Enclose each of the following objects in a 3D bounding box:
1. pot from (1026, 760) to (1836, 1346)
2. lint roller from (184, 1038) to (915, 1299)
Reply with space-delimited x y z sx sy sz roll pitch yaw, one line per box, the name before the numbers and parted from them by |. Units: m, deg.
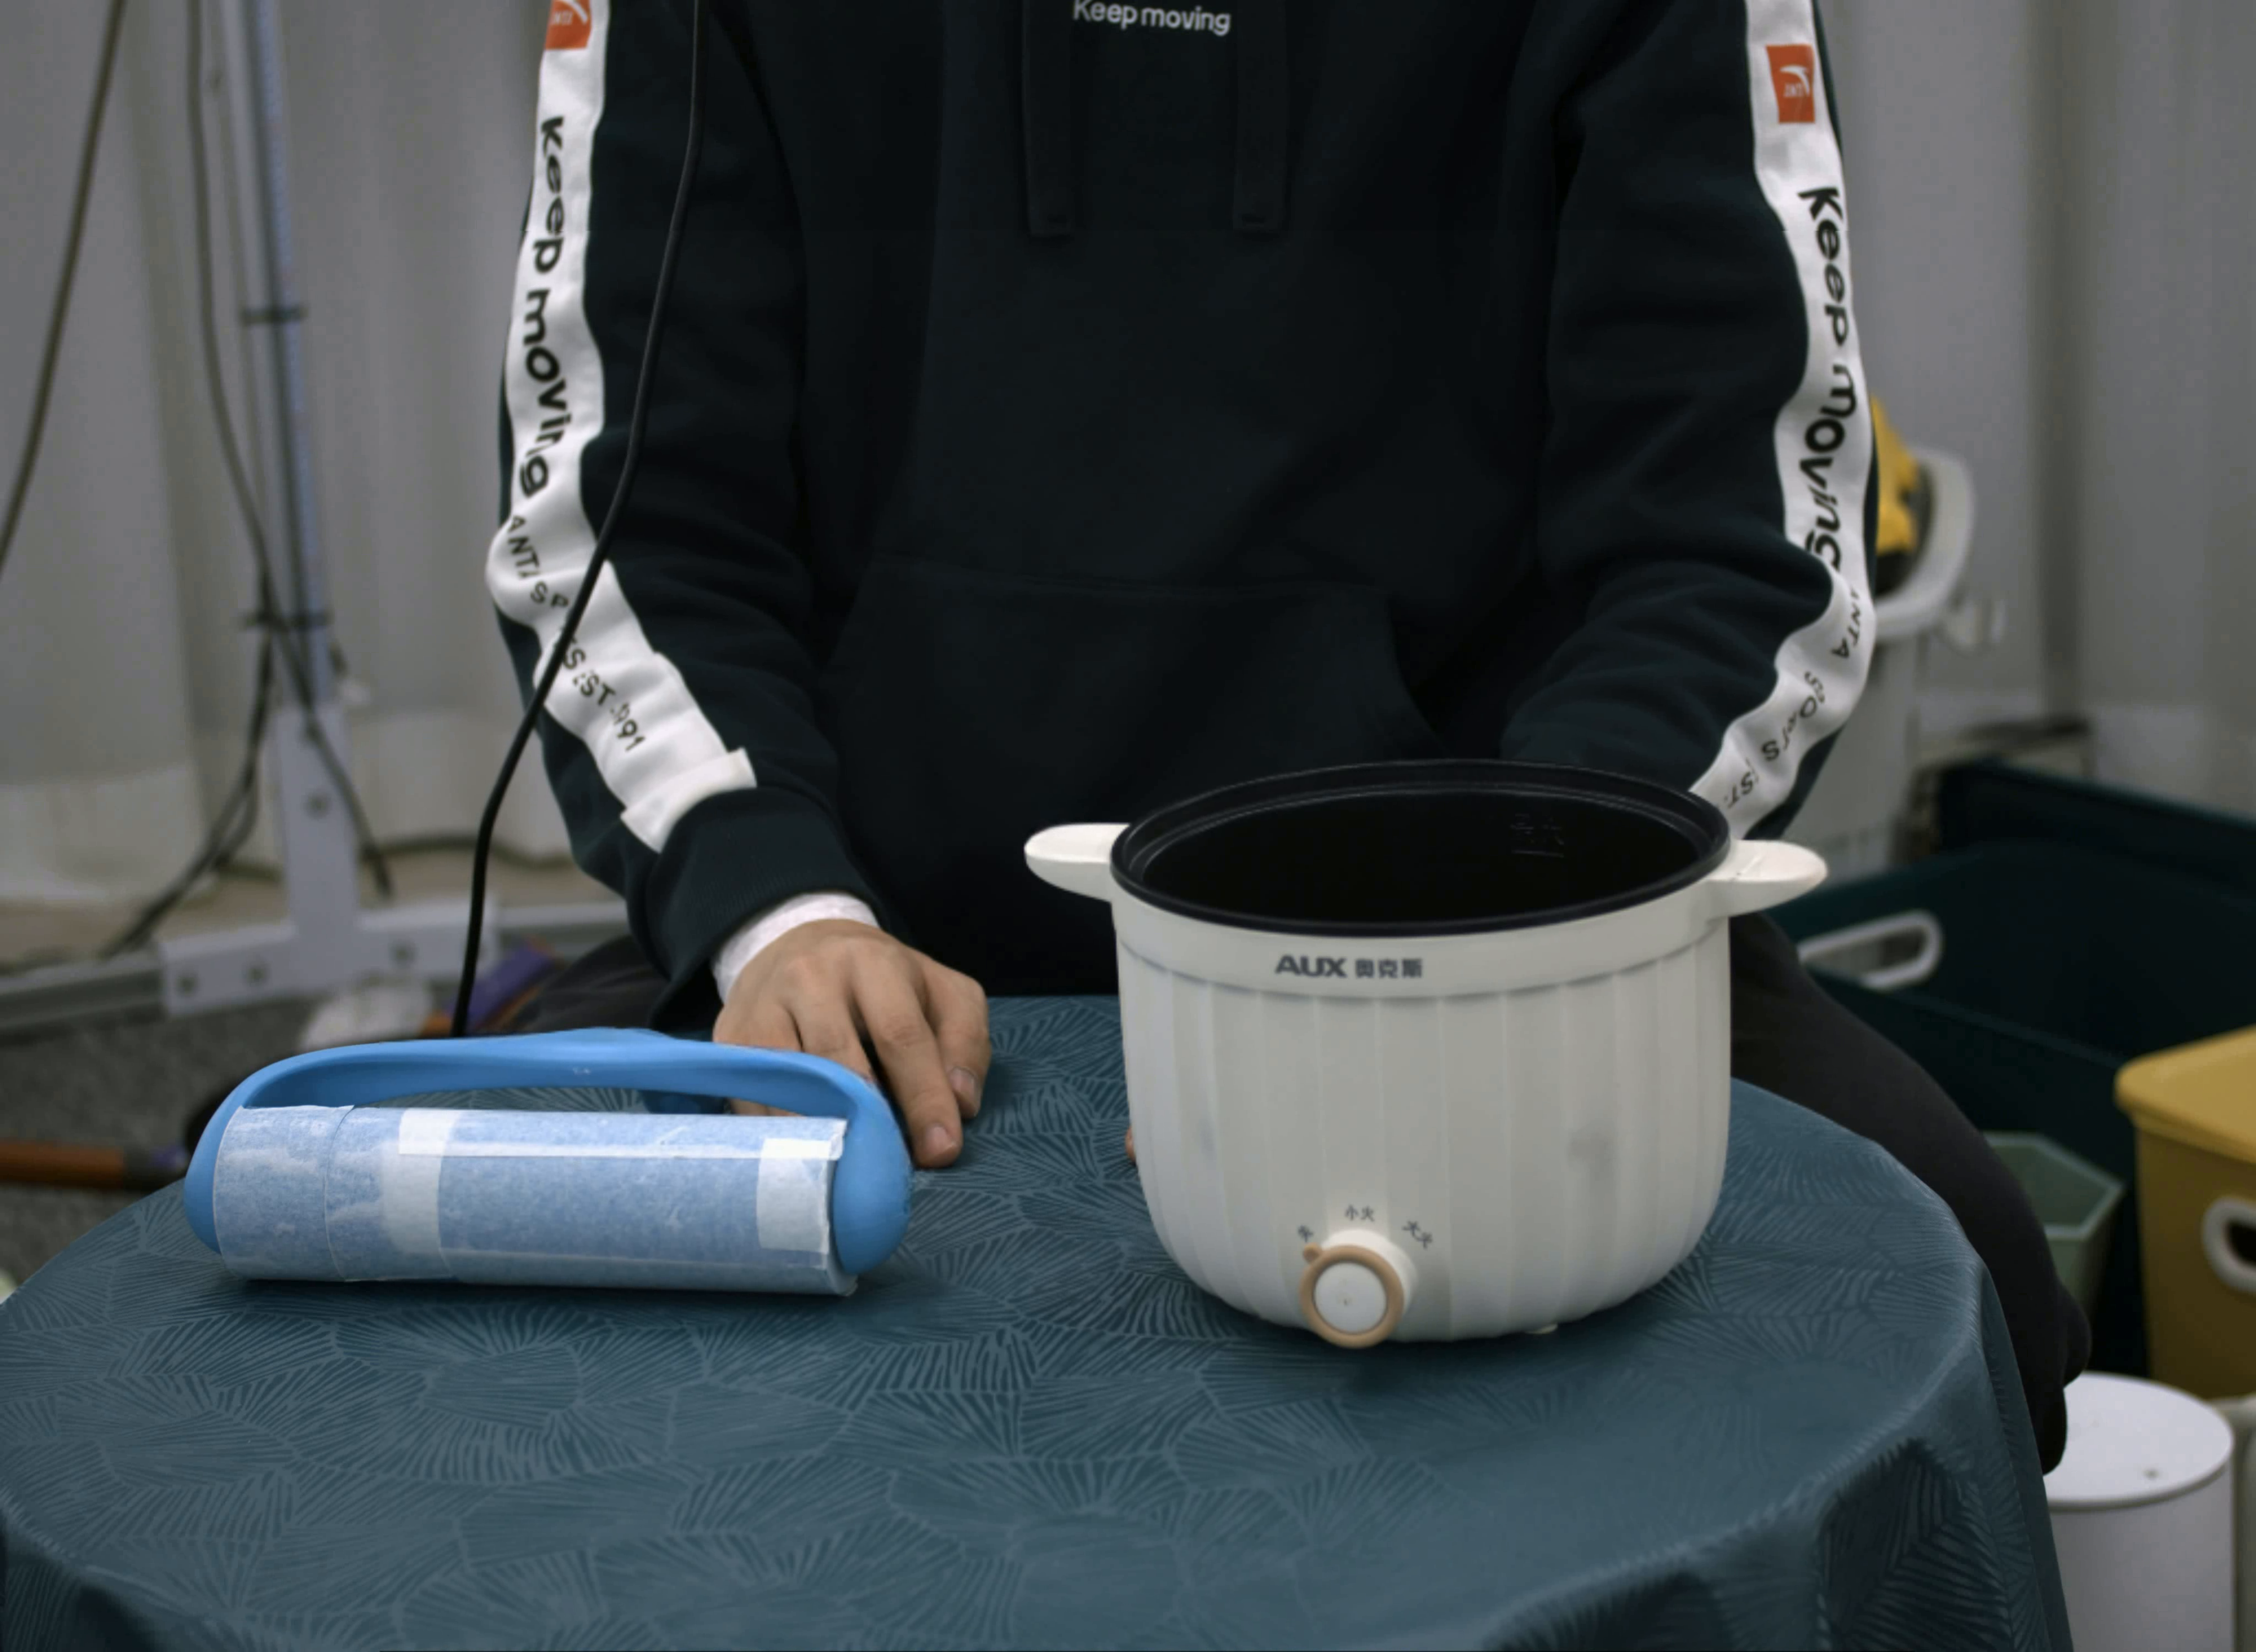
pot | 0.089 0.069 1.601 0.240 0.142 0.191 0 12 16
lint roller | -0.166 0.097 1.708 0.228 0.067 0.181 -2 16 11
